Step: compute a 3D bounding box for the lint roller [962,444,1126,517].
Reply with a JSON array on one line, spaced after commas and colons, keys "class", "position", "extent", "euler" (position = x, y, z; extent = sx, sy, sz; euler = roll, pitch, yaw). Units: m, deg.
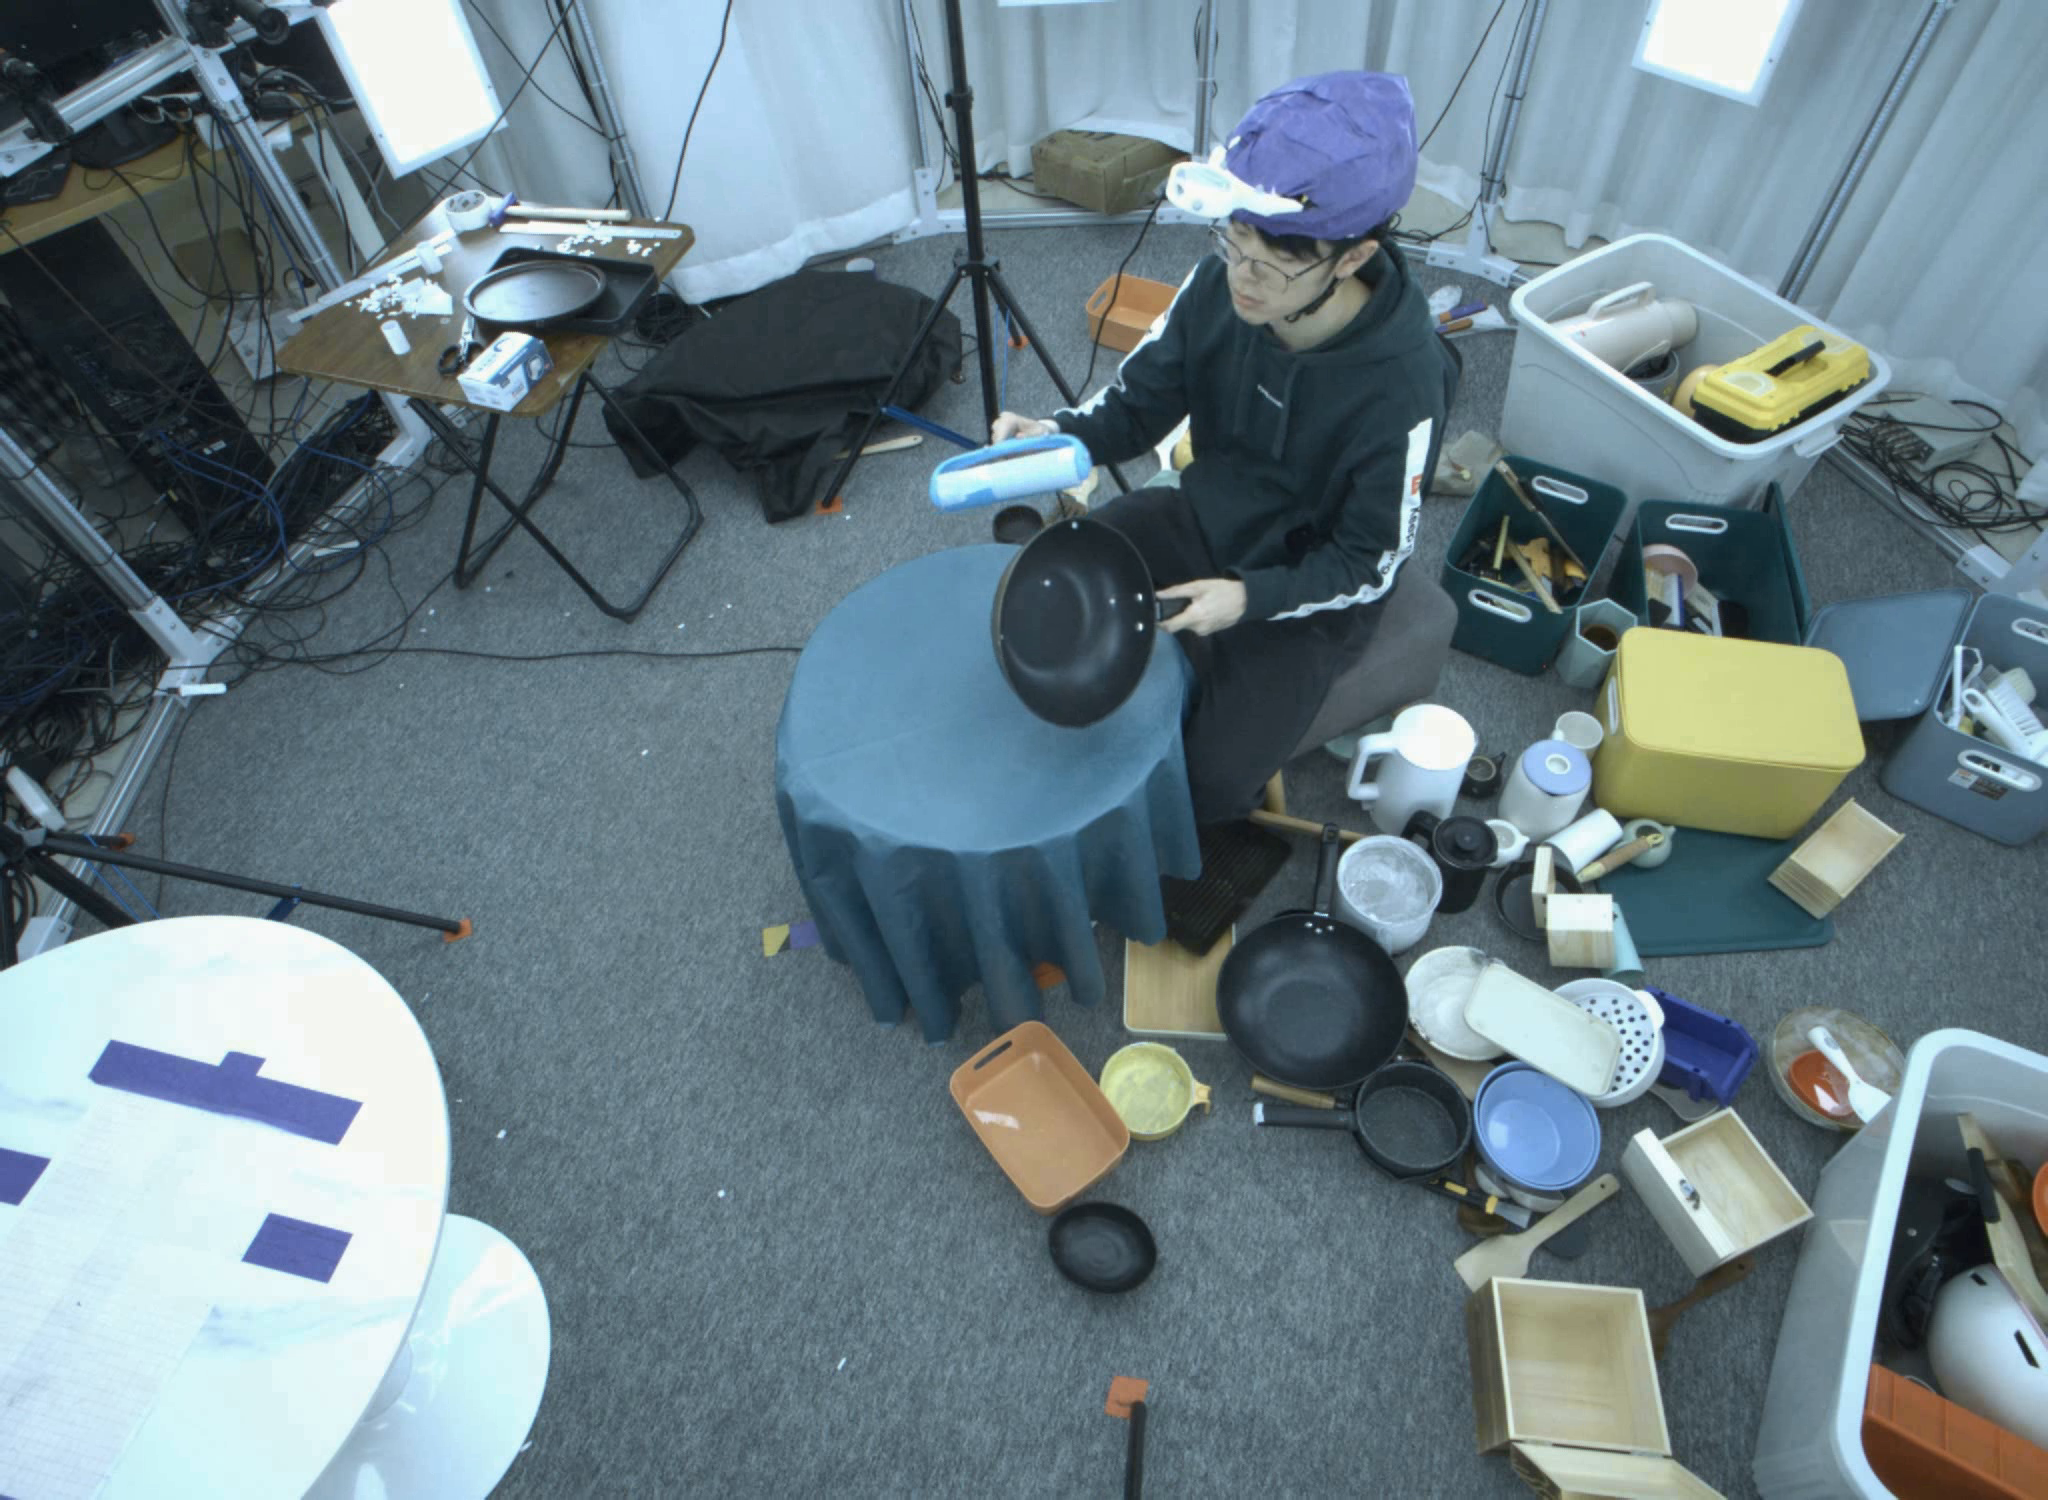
[{"class": "lint roller", "position": [0.029, -0.394, 1.704], "extent": [0.227, 0.069, 0.178], "euler": [-9, 35, 10]}]

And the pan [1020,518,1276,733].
[{"class": "pan", "position": [0.169, -0.183, 1.723], "extent": [0.472, 0.289, 0.085], "euler": [-11, 17, -36]}]
